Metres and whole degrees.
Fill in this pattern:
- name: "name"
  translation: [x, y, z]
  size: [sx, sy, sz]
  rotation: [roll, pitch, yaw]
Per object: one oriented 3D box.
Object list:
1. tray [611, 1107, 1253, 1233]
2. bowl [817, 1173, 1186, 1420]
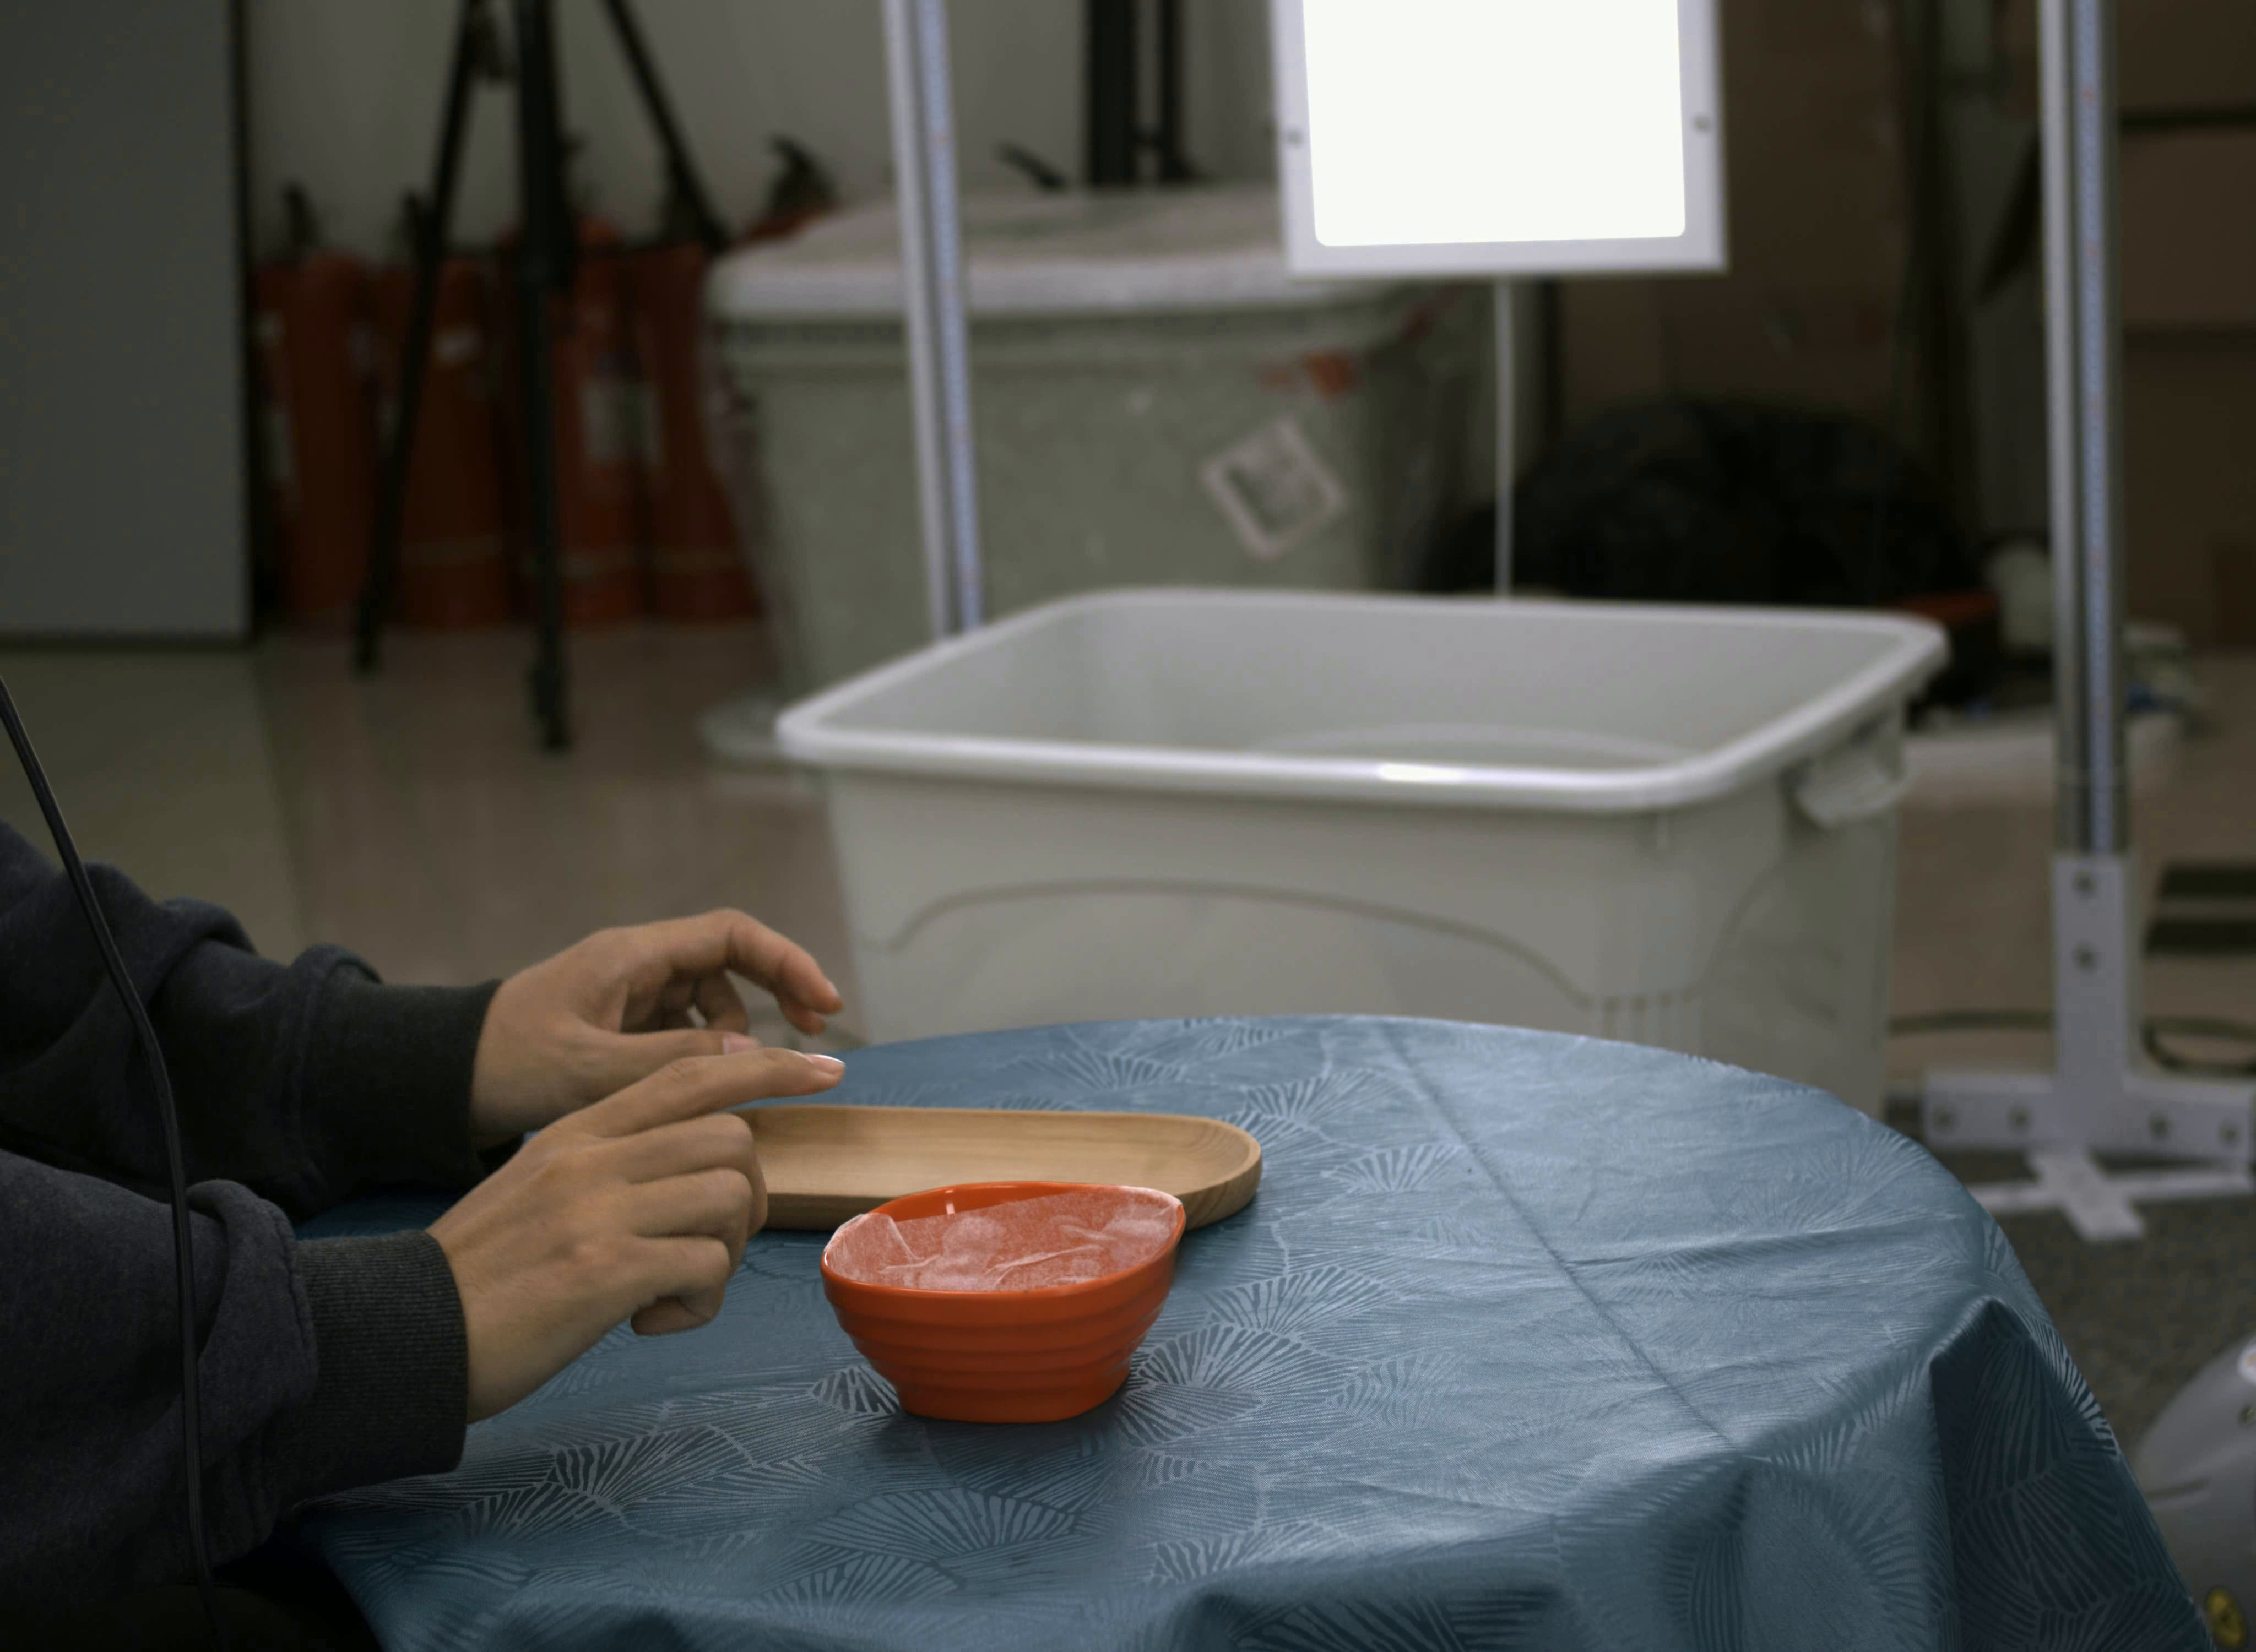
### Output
- name: "tray"
  translation: [-0.069, 0.121, 1.912]
  size: [0.234, 0.020, 0.100]
  rotation: [-1, 13, 20]
- name: "bowl"
  translation: [-0.037, 0.148, 1.708]
  size: [0.118, 0.051, 0.119]
  rotation: [-5, 15, 0]
